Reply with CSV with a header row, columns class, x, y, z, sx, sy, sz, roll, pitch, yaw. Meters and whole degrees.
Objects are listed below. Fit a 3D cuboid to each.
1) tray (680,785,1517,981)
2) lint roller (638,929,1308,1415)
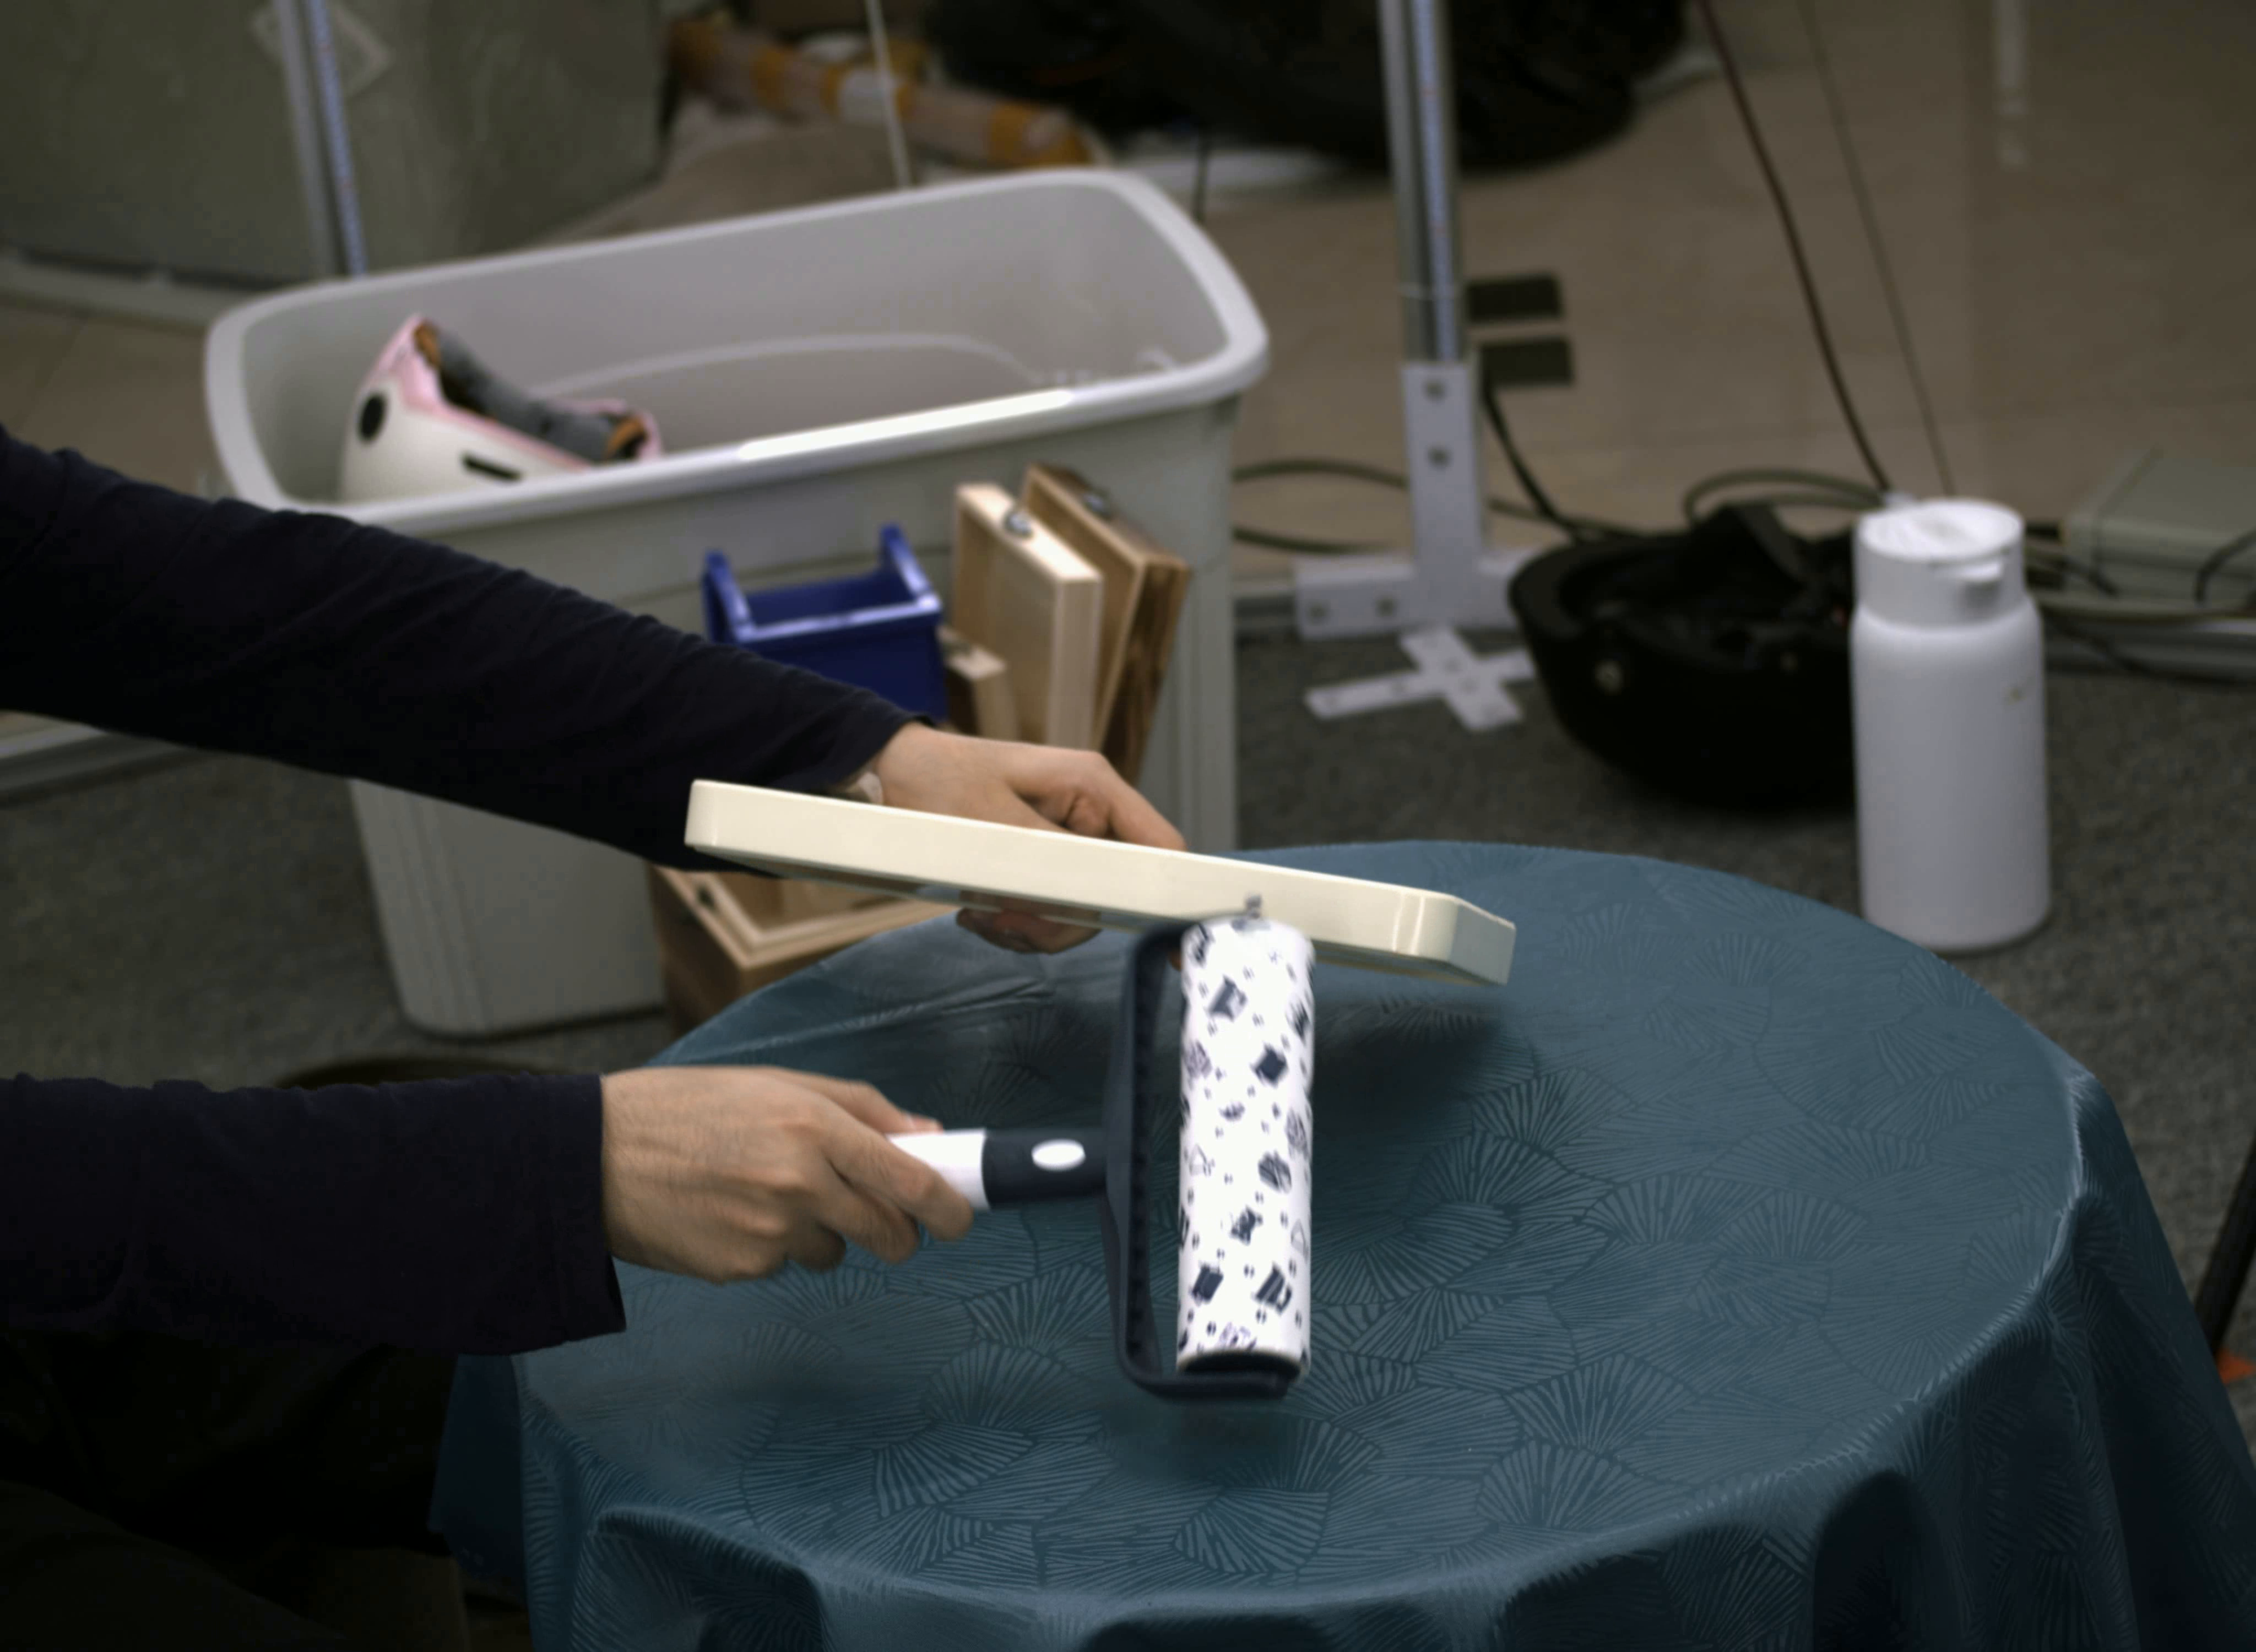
class,x,y,z,sx,sy,sz,roll,pitch,yaw
tray,-0.008,0.023,2.195,0.299,0.027,0.192,9,-1,13
lint roller,-0.058,0.129,2.013,0.247,0.051,0.174,-4,65,12
